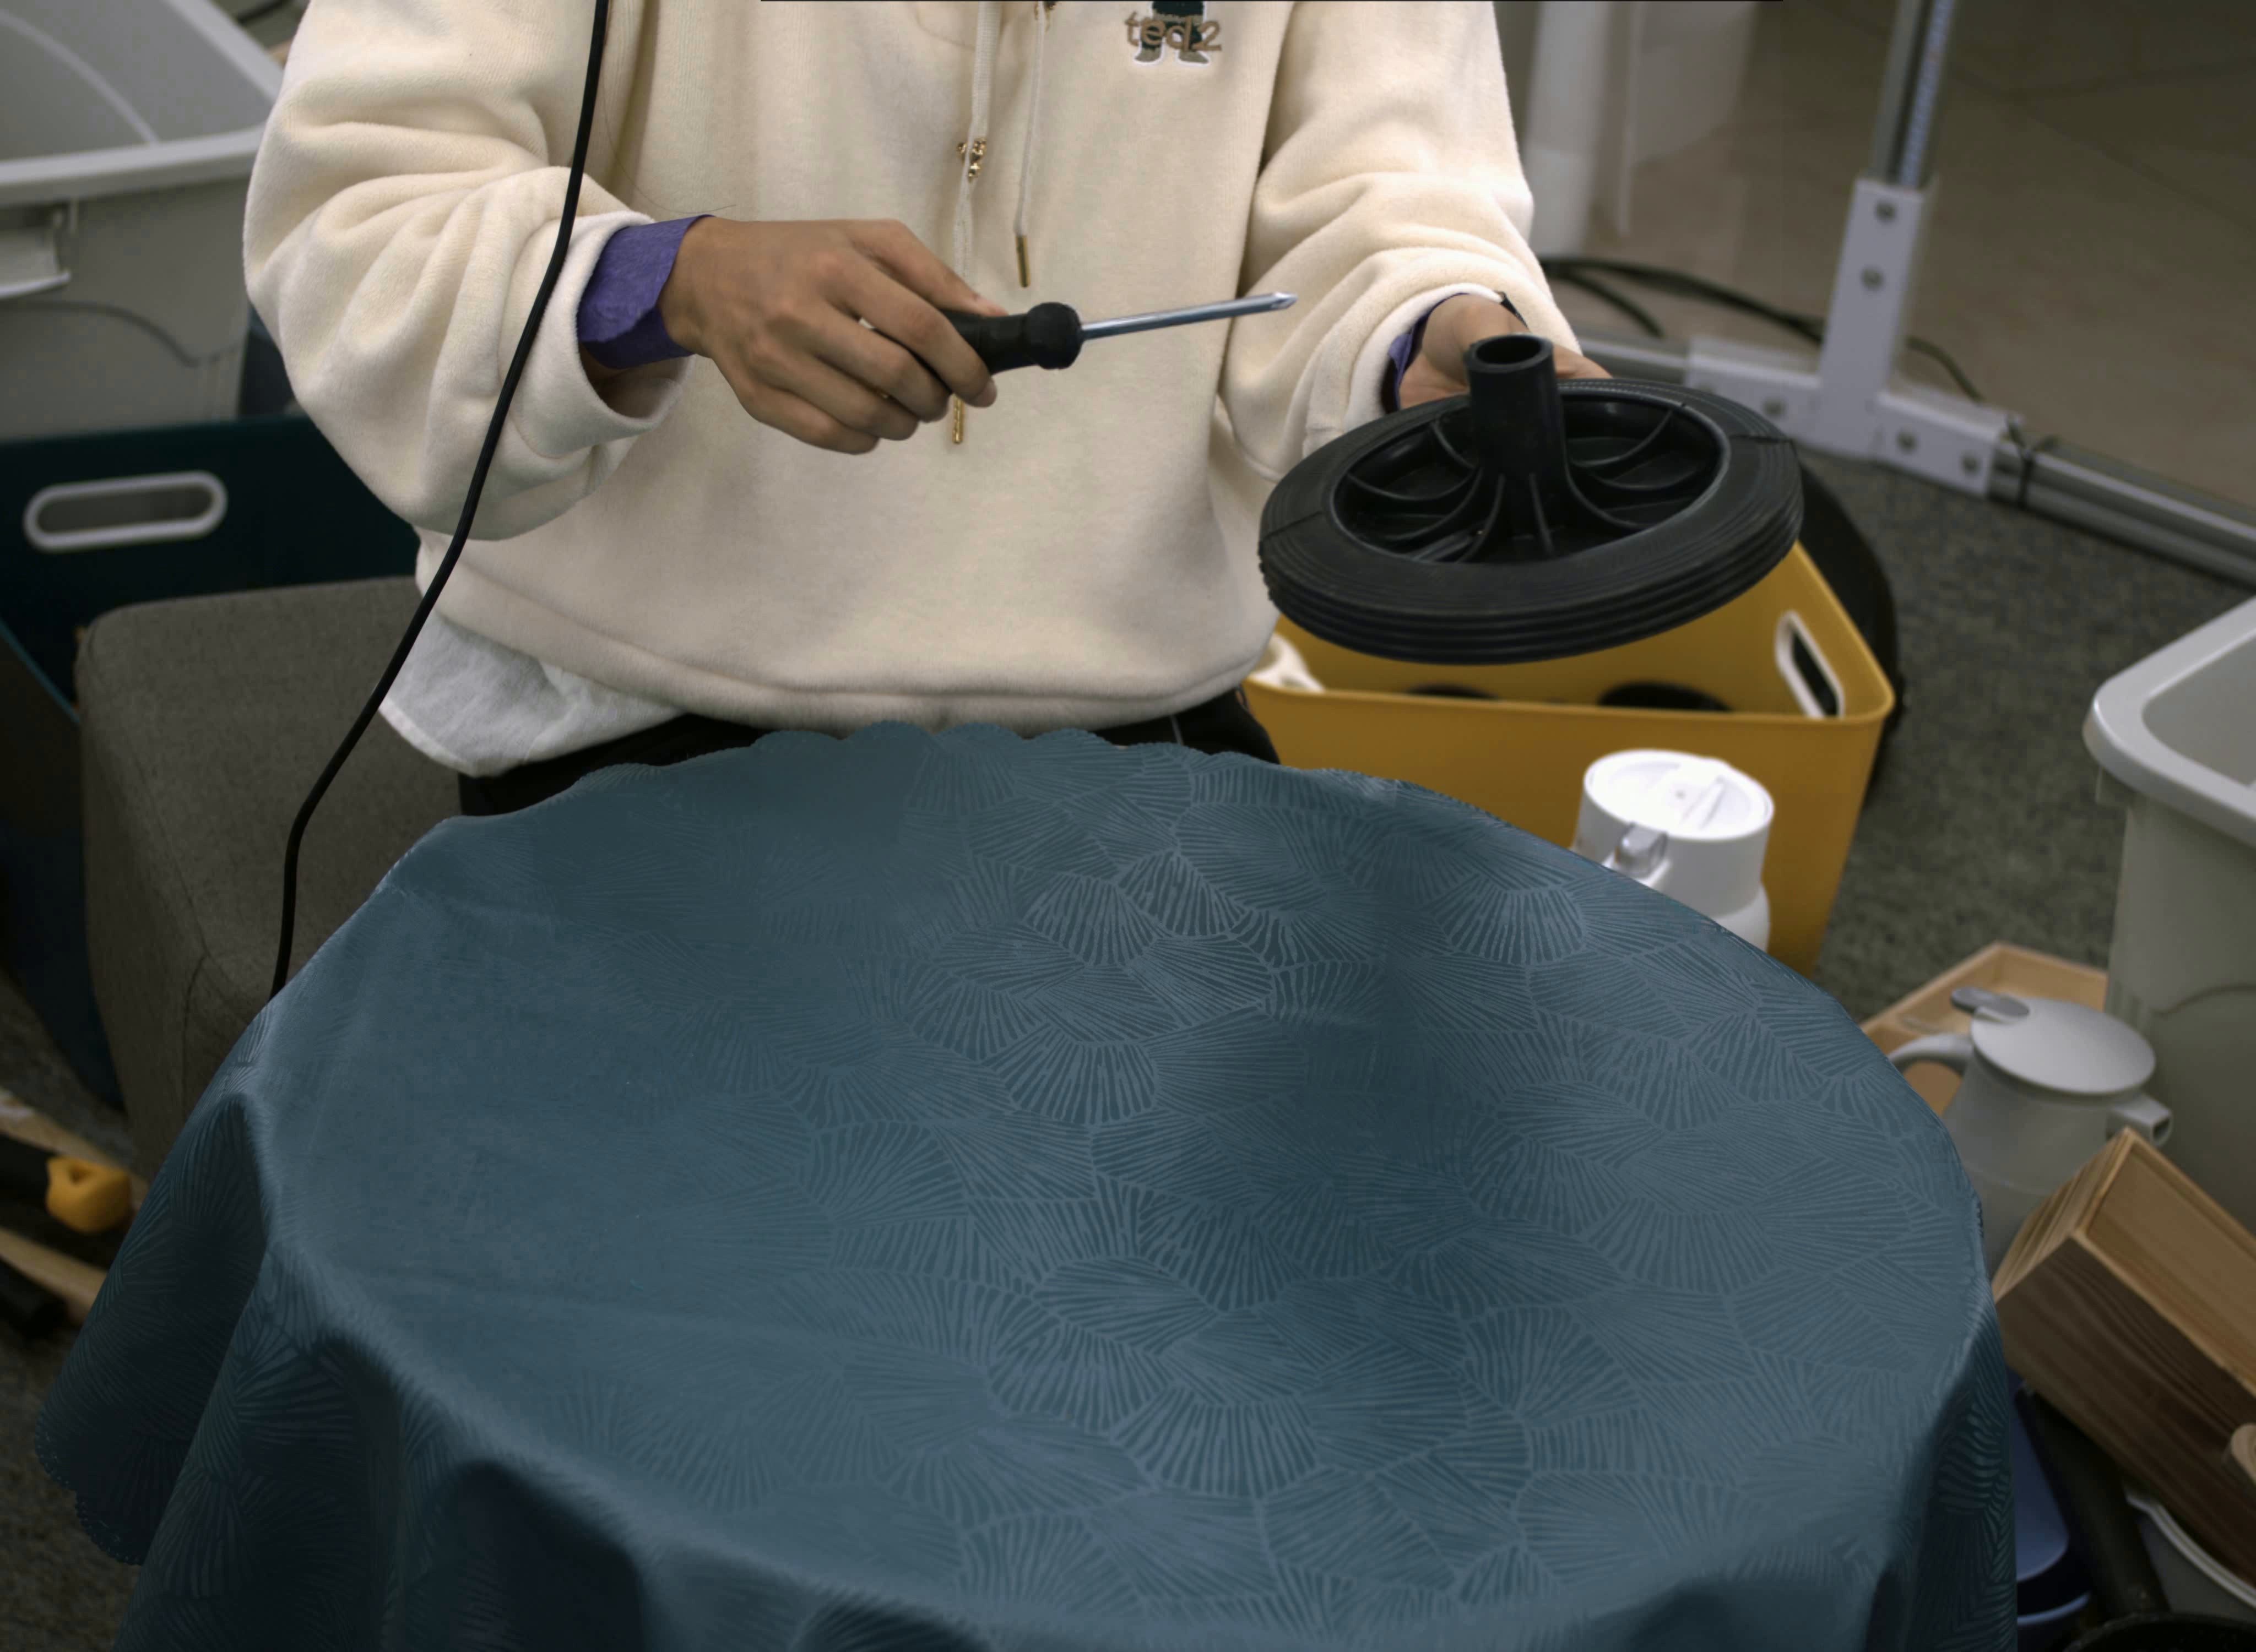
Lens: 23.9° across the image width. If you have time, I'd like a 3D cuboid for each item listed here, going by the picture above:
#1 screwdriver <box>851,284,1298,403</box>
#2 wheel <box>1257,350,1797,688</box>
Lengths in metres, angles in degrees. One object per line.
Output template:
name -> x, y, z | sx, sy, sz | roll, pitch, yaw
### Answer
screwdriver -> -0.019, -0.178, 1.890 | 0.197, 0.031, 0.031 | -10, 14, 36
wheel -> 0.133, -0.121, 1.825 | 0.188, 0.079, 0.190 | 7, 35, 31
